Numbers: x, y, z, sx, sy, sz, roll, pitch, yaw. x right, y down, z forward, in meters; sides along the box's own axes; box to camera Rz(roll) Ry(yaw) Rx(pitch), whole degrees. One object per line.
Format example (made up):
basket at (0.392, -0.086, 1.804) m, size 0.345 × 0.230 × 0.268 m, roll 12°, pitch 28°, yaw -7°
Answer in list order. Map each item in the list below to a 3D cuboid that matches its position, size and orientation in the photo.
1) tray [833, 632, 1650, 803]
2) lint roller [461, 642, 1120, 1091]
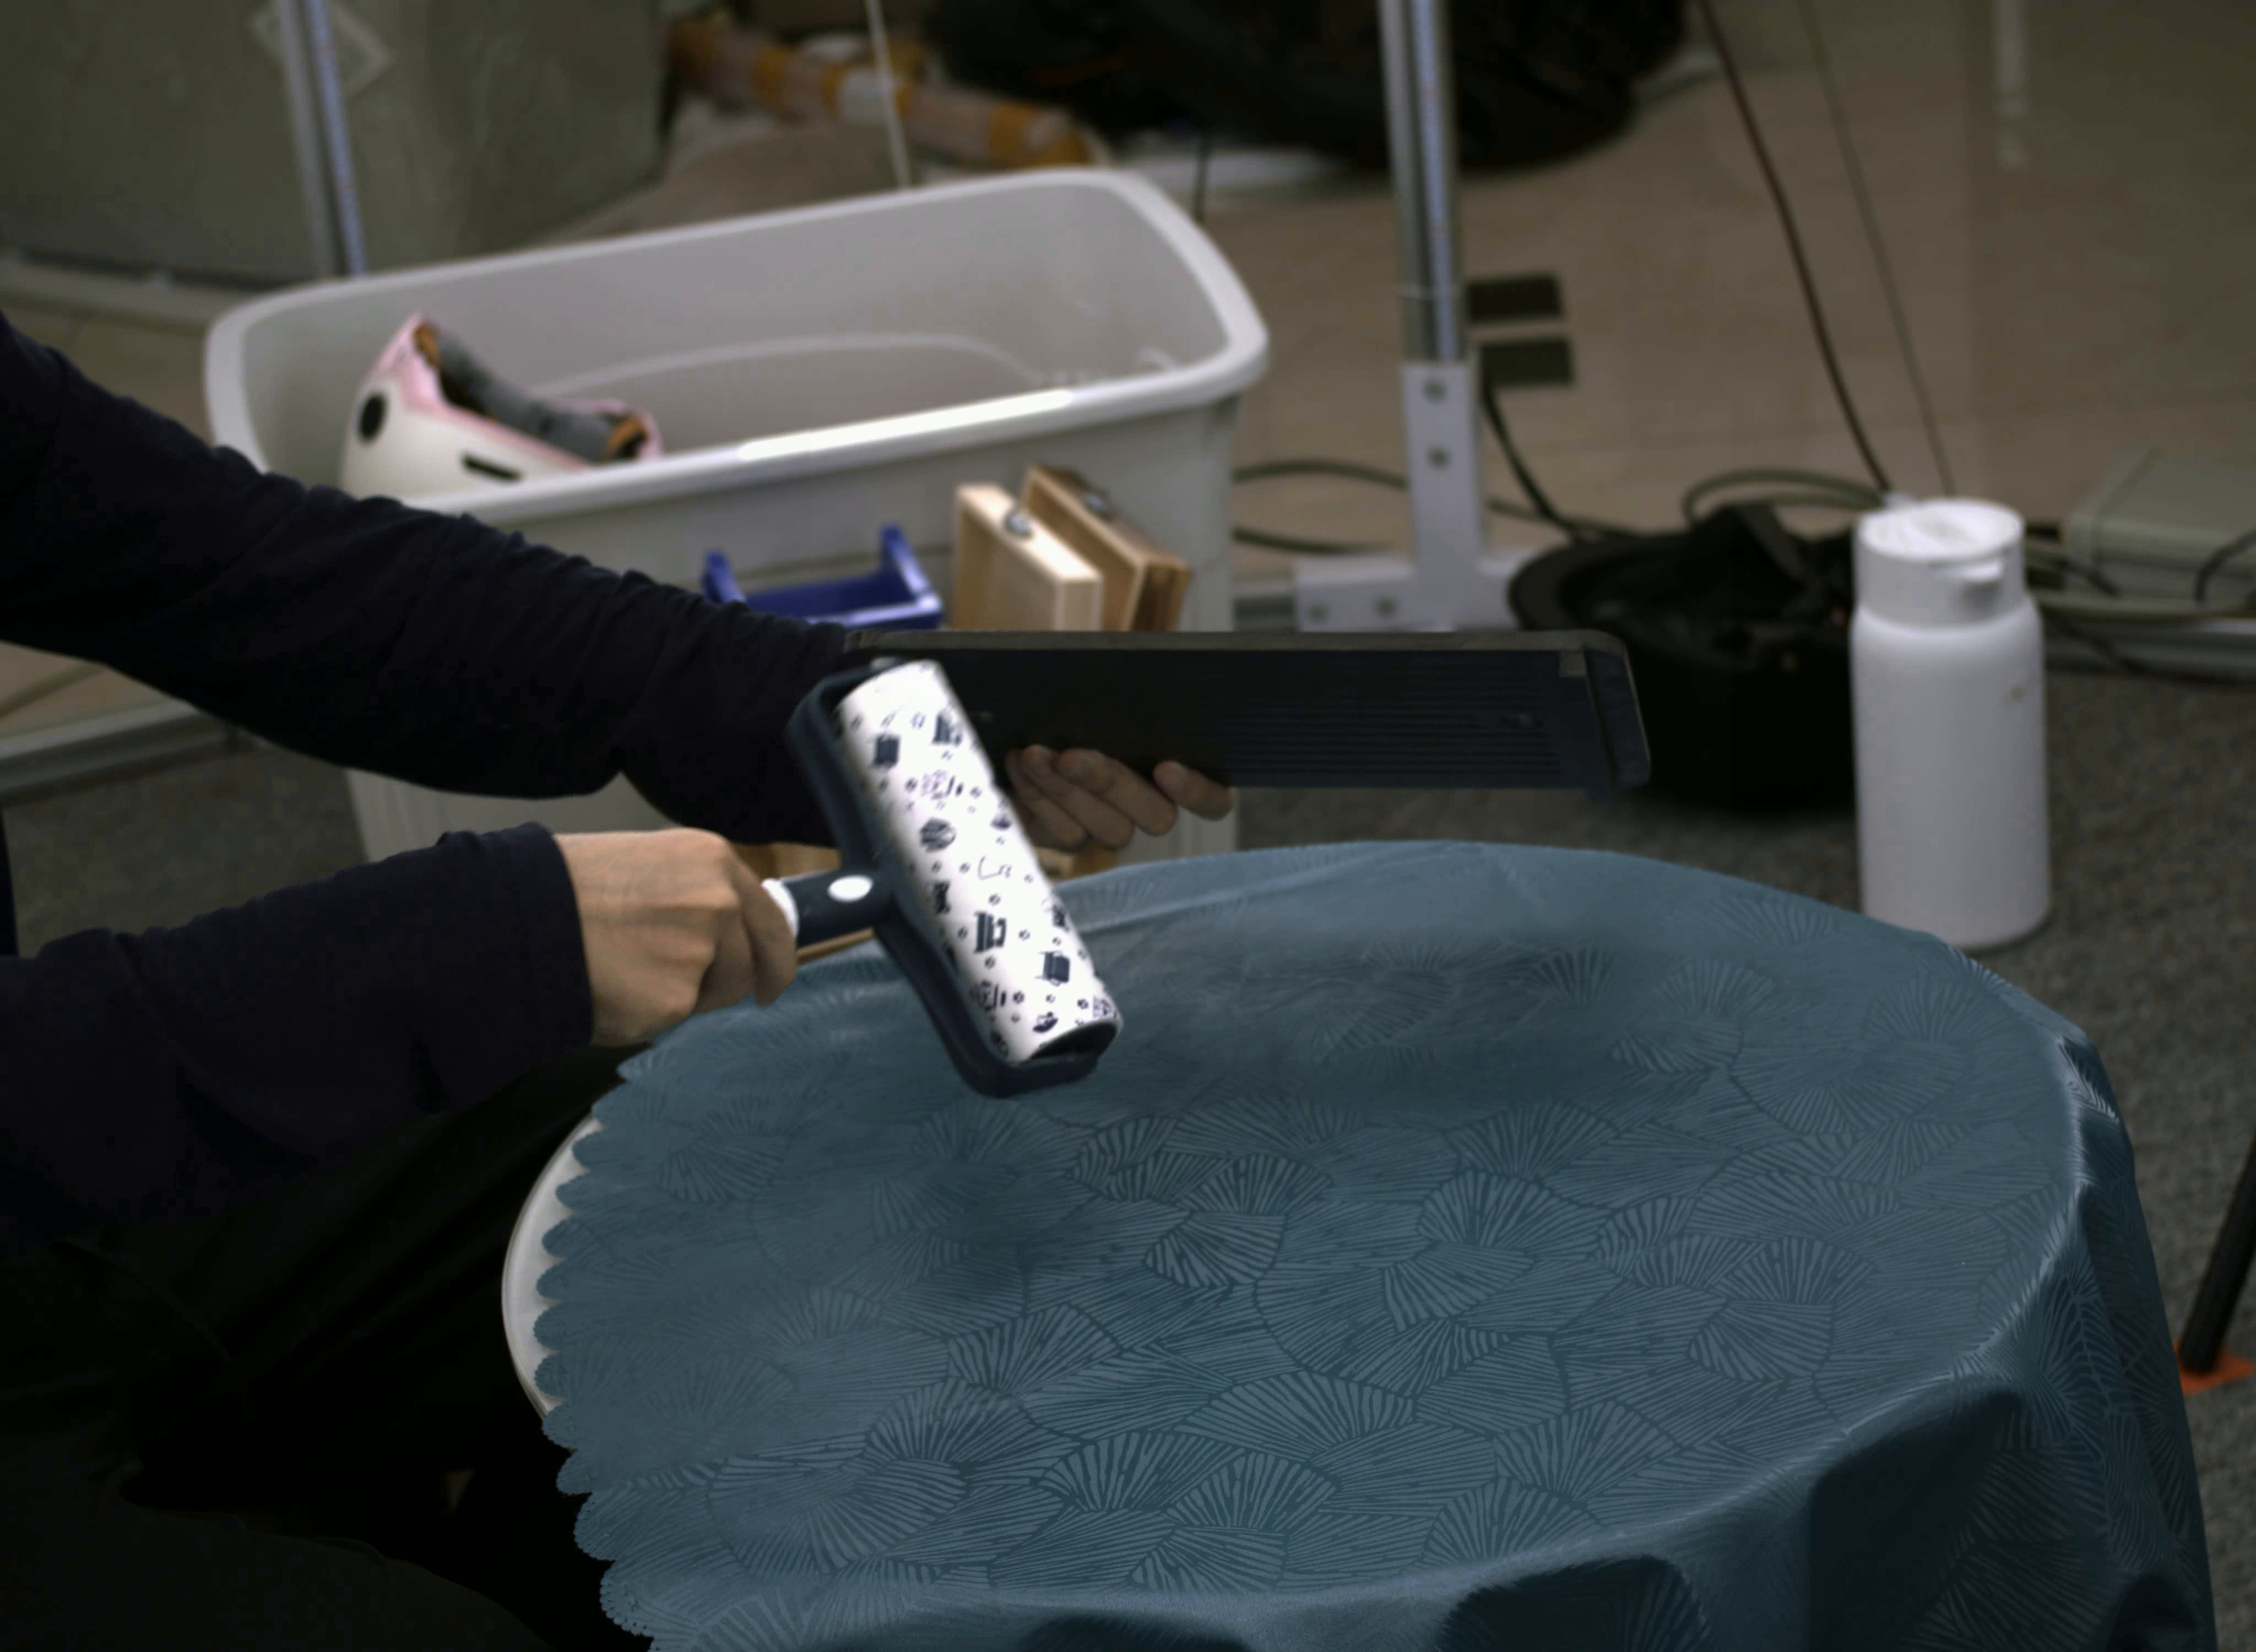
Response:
tray at (0.047, -0.040, 2.229) m, size 0.305 × 0.018 × 0.172 m, roll 0°, pitch -17°, yaw 10°
lint roller at (-0.131, 0.032, 2.061) m, size 0.246 × 0.175 × 0.051 m, roll -14°, pitch -17°, yaw -39°
